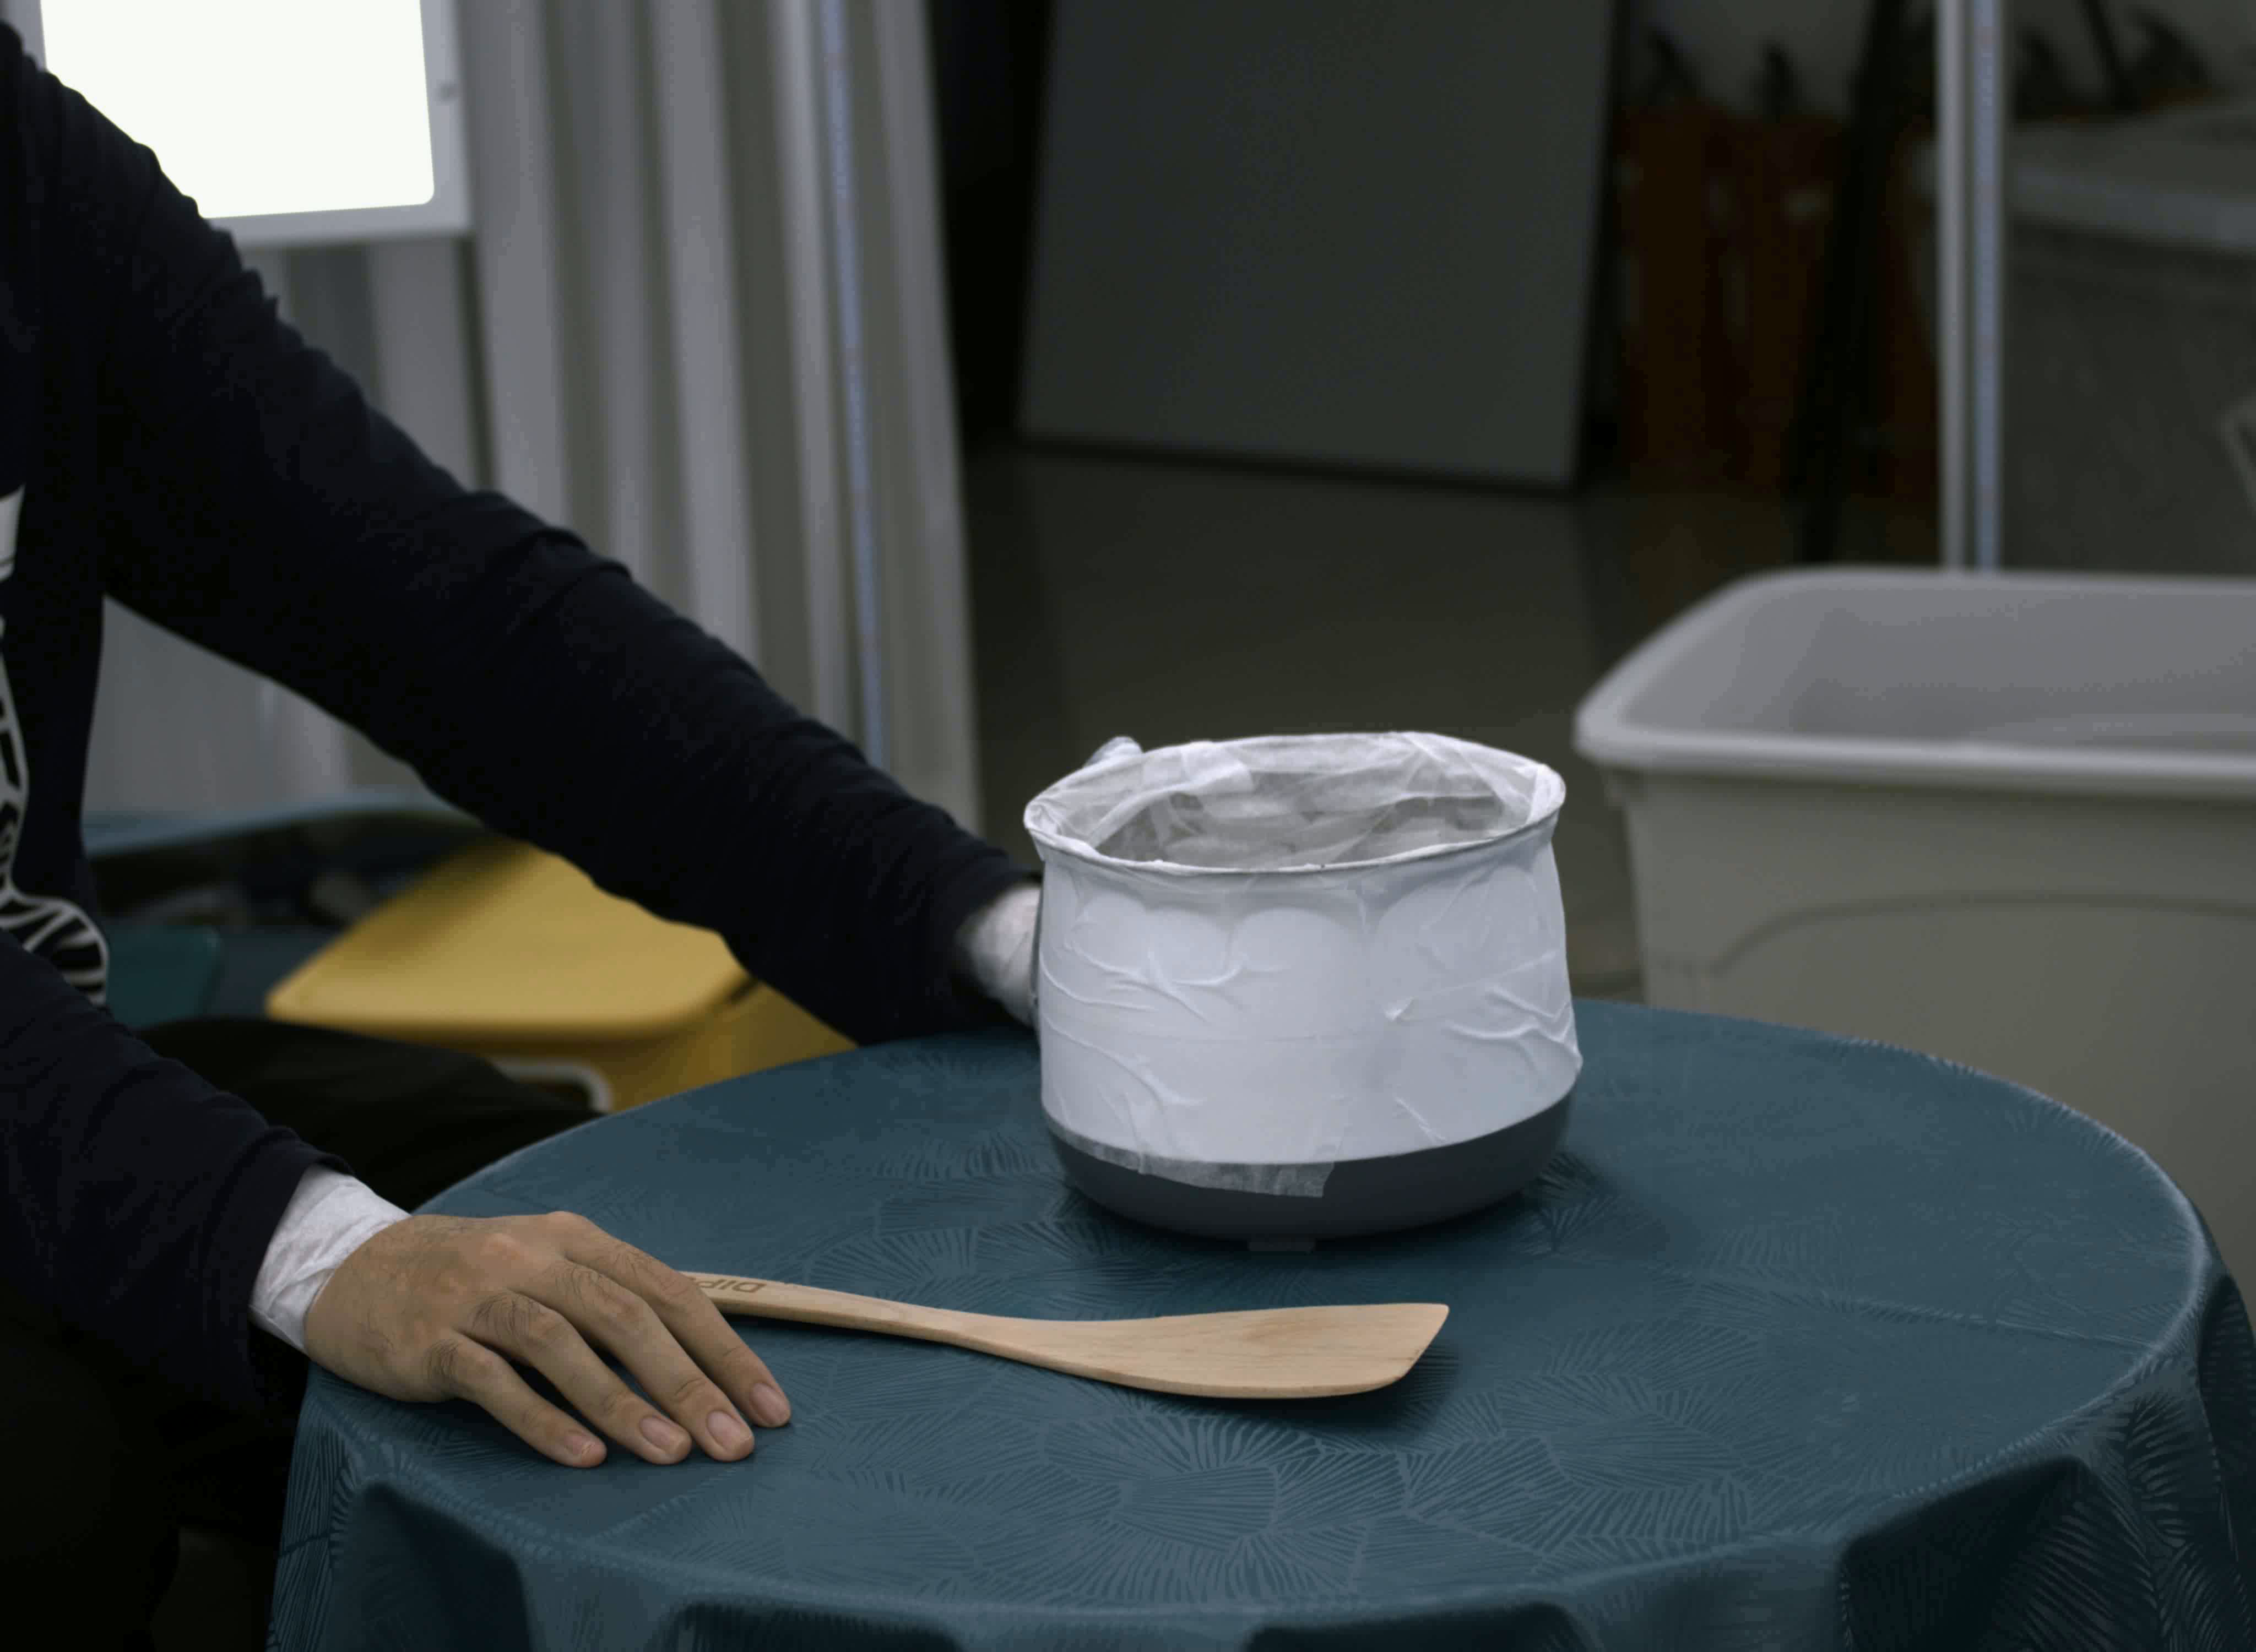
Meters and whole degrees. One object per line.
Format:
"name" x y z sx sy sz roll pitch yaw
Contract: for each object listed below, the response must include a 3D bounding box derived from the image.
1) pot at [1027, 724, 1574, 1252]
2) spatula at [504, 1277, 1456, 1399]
"pot" 0.041 0.046 1.773 0.175 0.138 0.236 -12 17 -34
"spatula" -0.050 0.150 1.639 0.328 0.017 0.079 2 14 28
